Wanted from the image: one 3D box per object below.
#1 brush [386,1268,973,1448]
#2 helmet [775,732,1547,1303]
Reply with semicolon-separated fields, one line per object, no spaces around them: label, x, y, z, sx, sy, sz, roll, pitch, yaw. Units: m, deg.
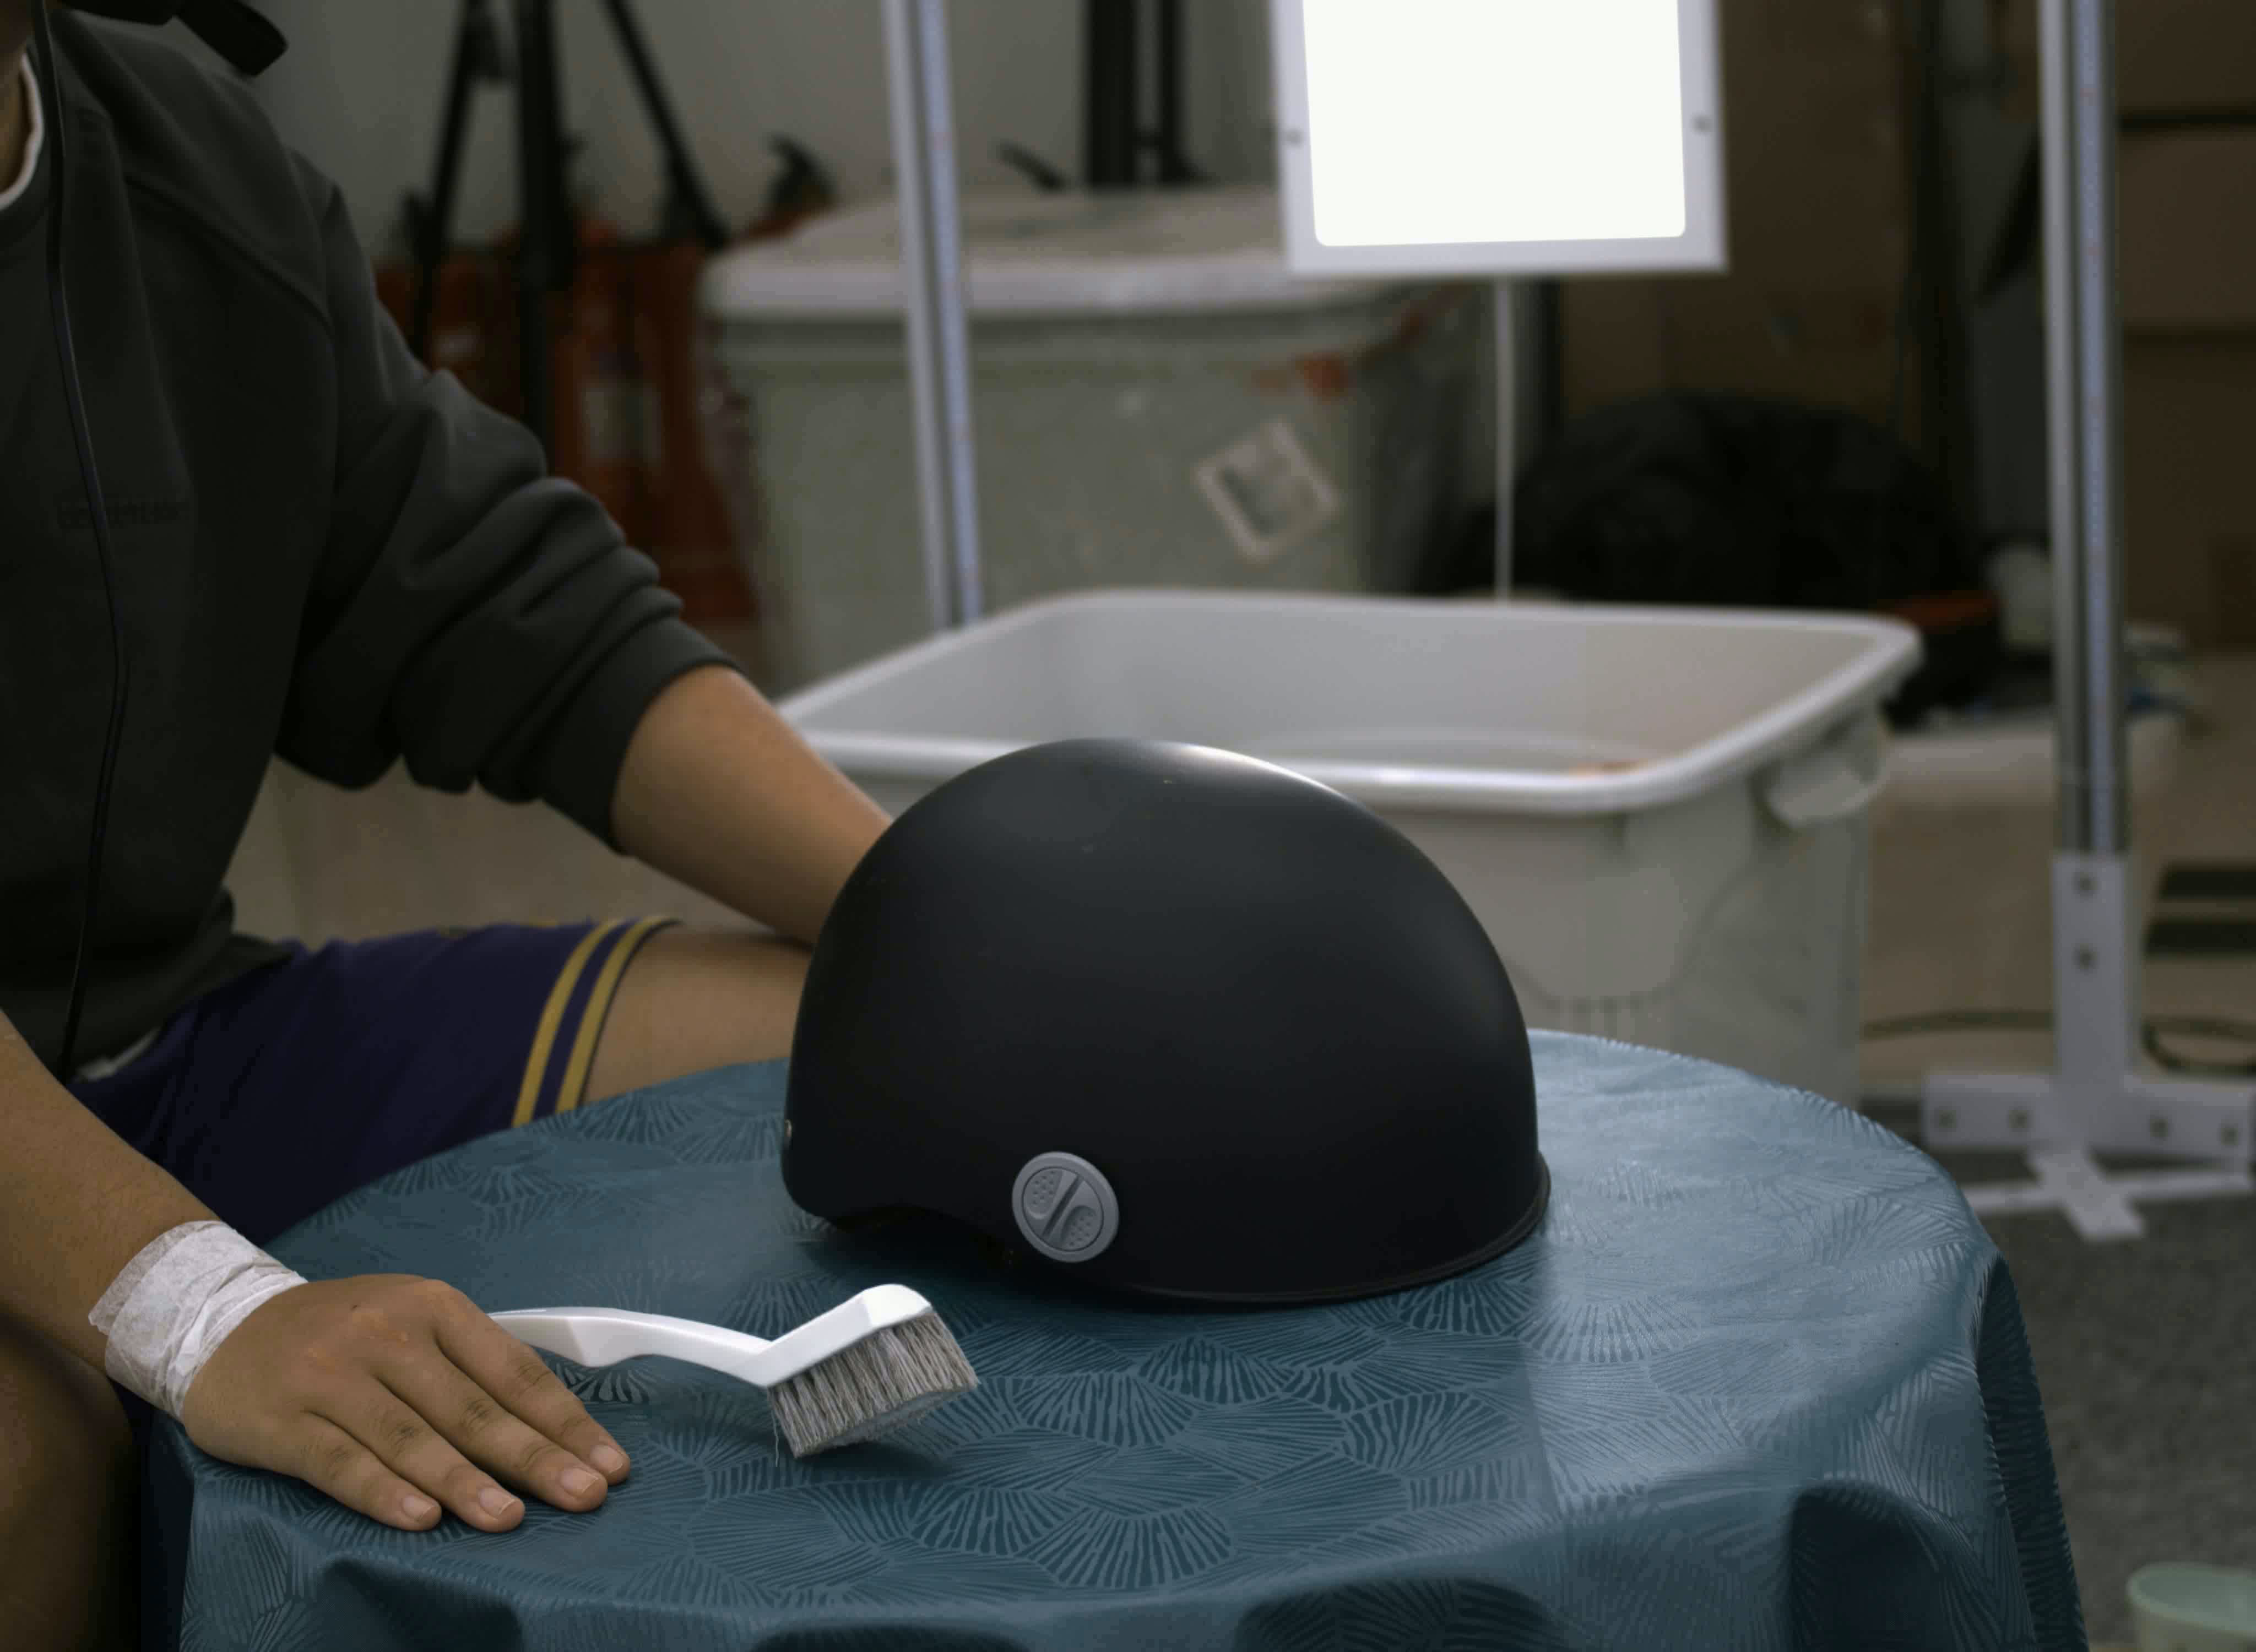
brush;-0.144;0.171;1.717;0.249;0.050;0.033;-10;-2;42
helmet;0.008;0.055;1.855;0.279;0.167;0.224;9;22;39
